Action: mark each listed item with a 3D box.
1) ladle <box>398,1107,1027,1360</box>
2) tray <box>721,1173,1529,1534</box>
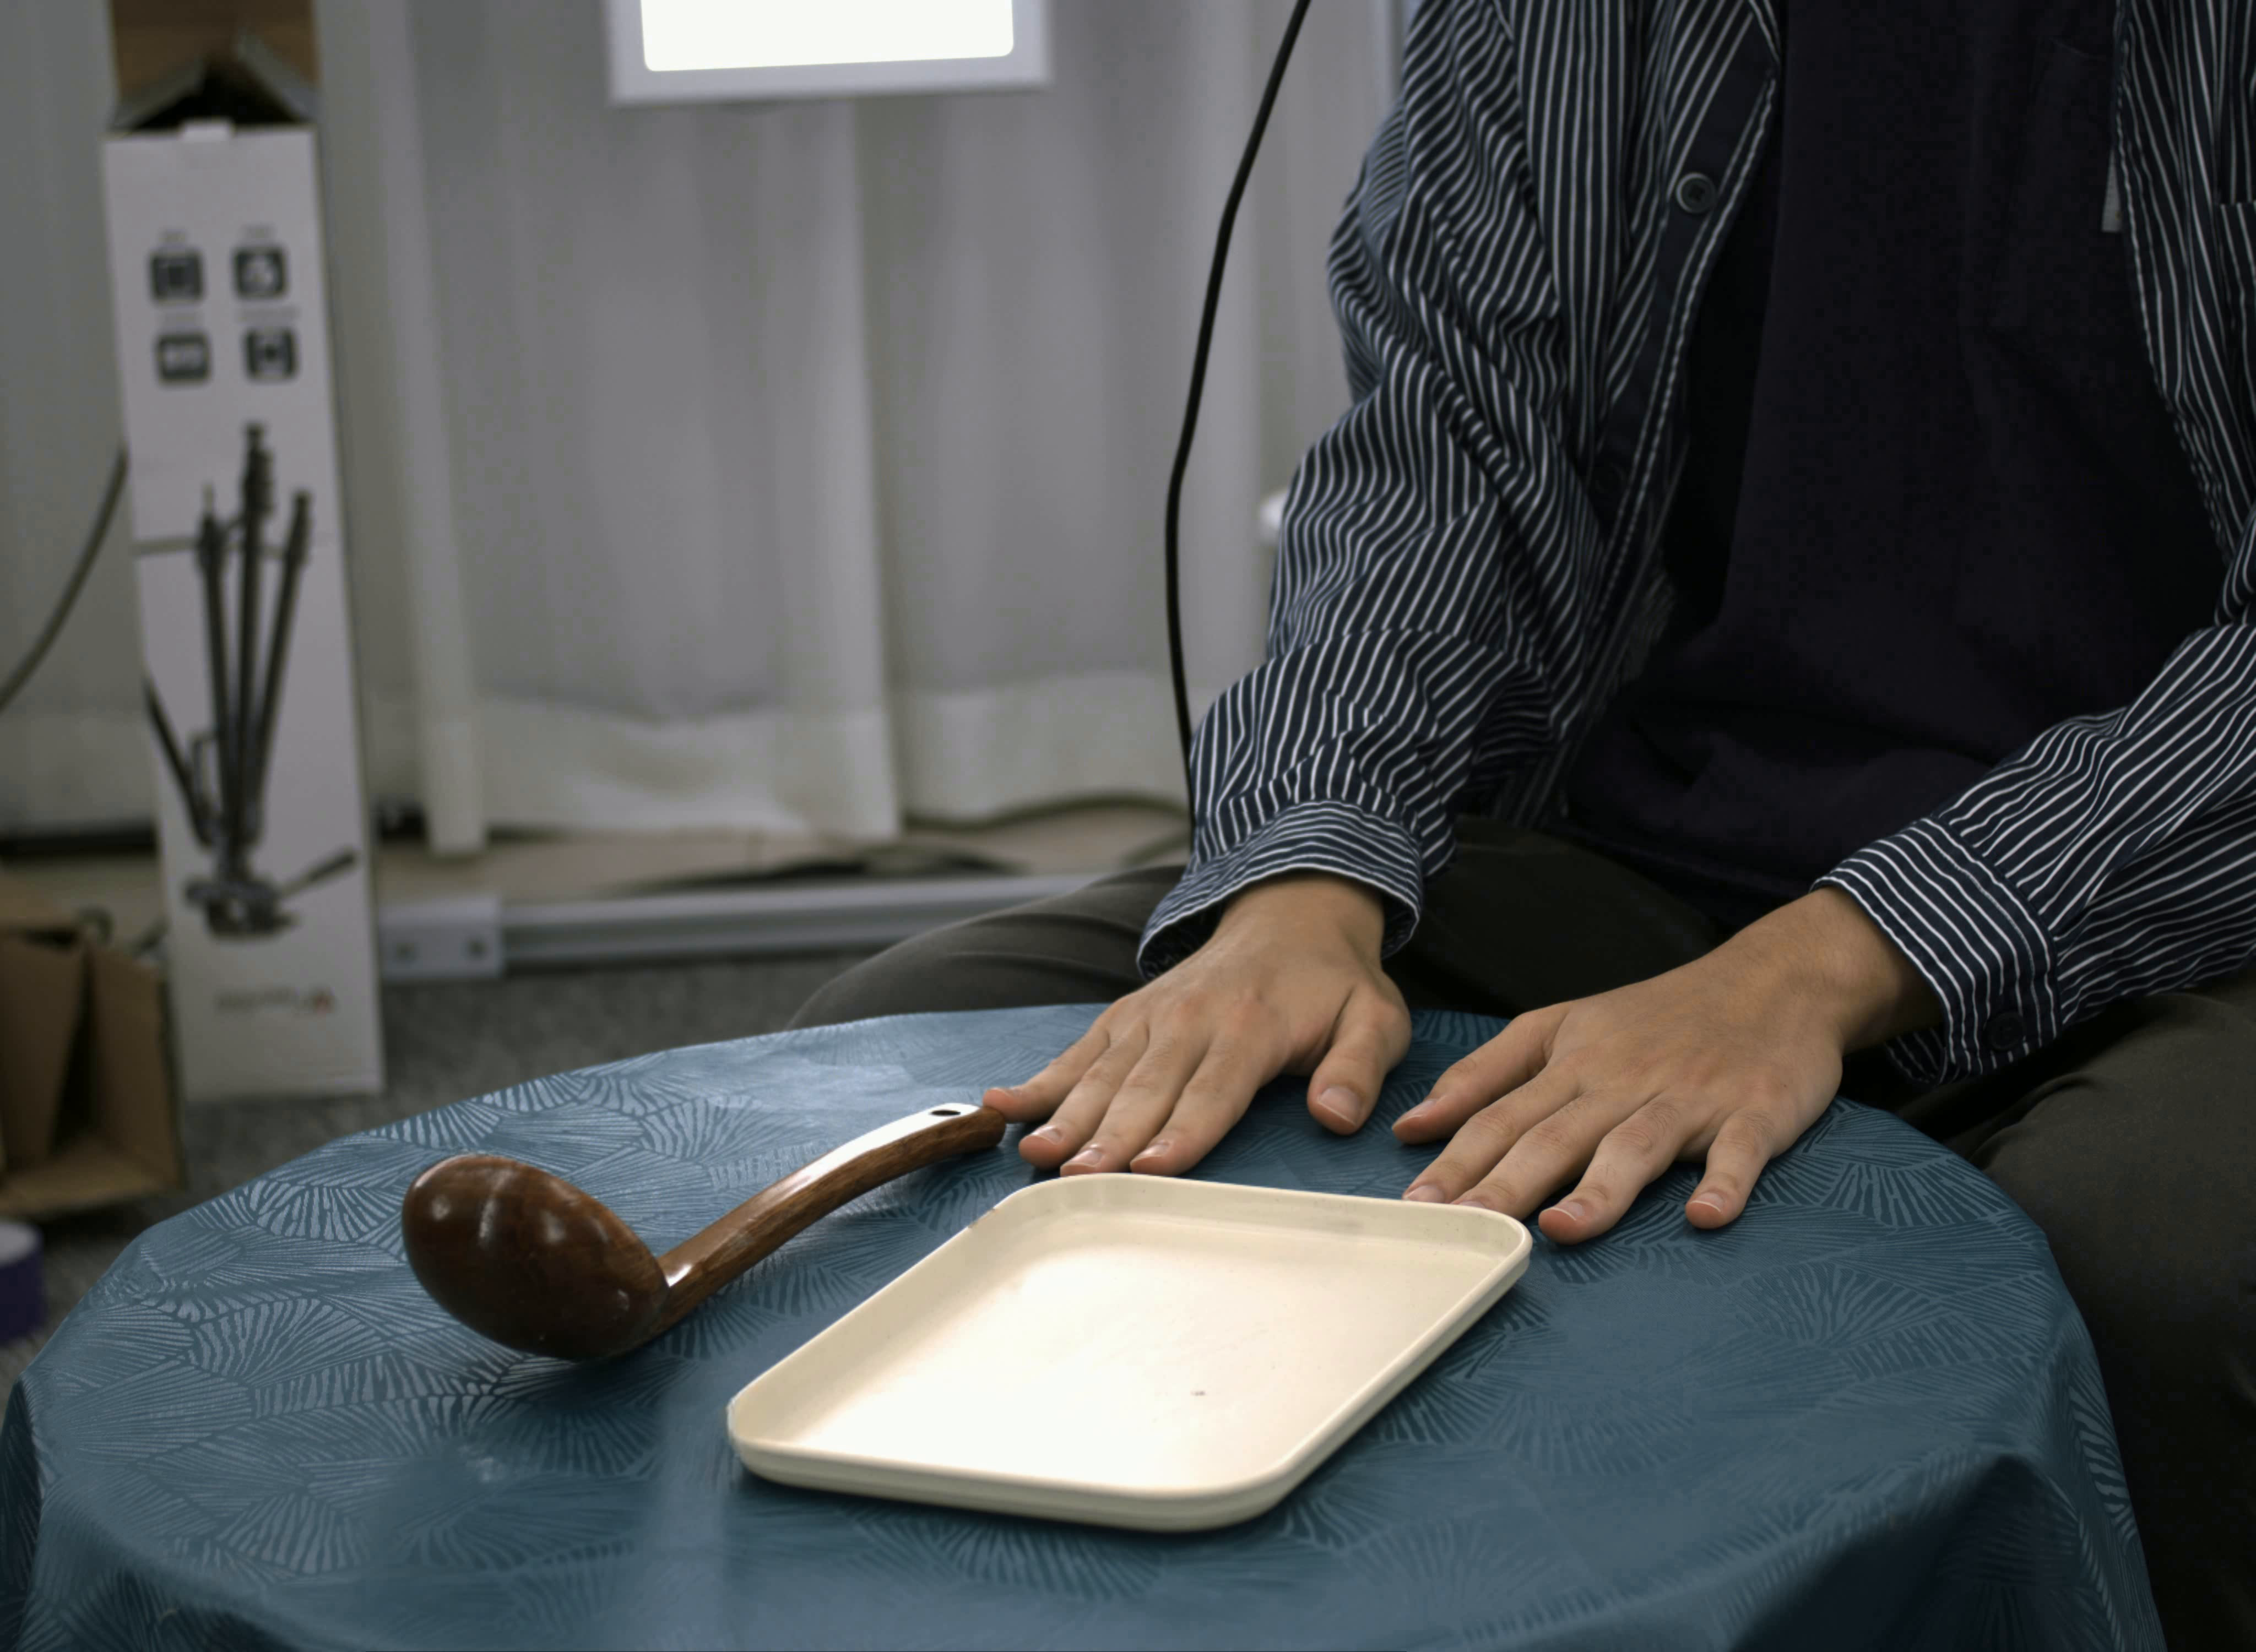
[{"bbox_3d":[-0.116,0.098,1.654,0.082,0.076,0.274,10,19,31],"label":"ladle"},{"bbox_3d":[0.003,0.148,1.556,0.171,0.017,0.240,4,16,24],"label":"tray"}]
